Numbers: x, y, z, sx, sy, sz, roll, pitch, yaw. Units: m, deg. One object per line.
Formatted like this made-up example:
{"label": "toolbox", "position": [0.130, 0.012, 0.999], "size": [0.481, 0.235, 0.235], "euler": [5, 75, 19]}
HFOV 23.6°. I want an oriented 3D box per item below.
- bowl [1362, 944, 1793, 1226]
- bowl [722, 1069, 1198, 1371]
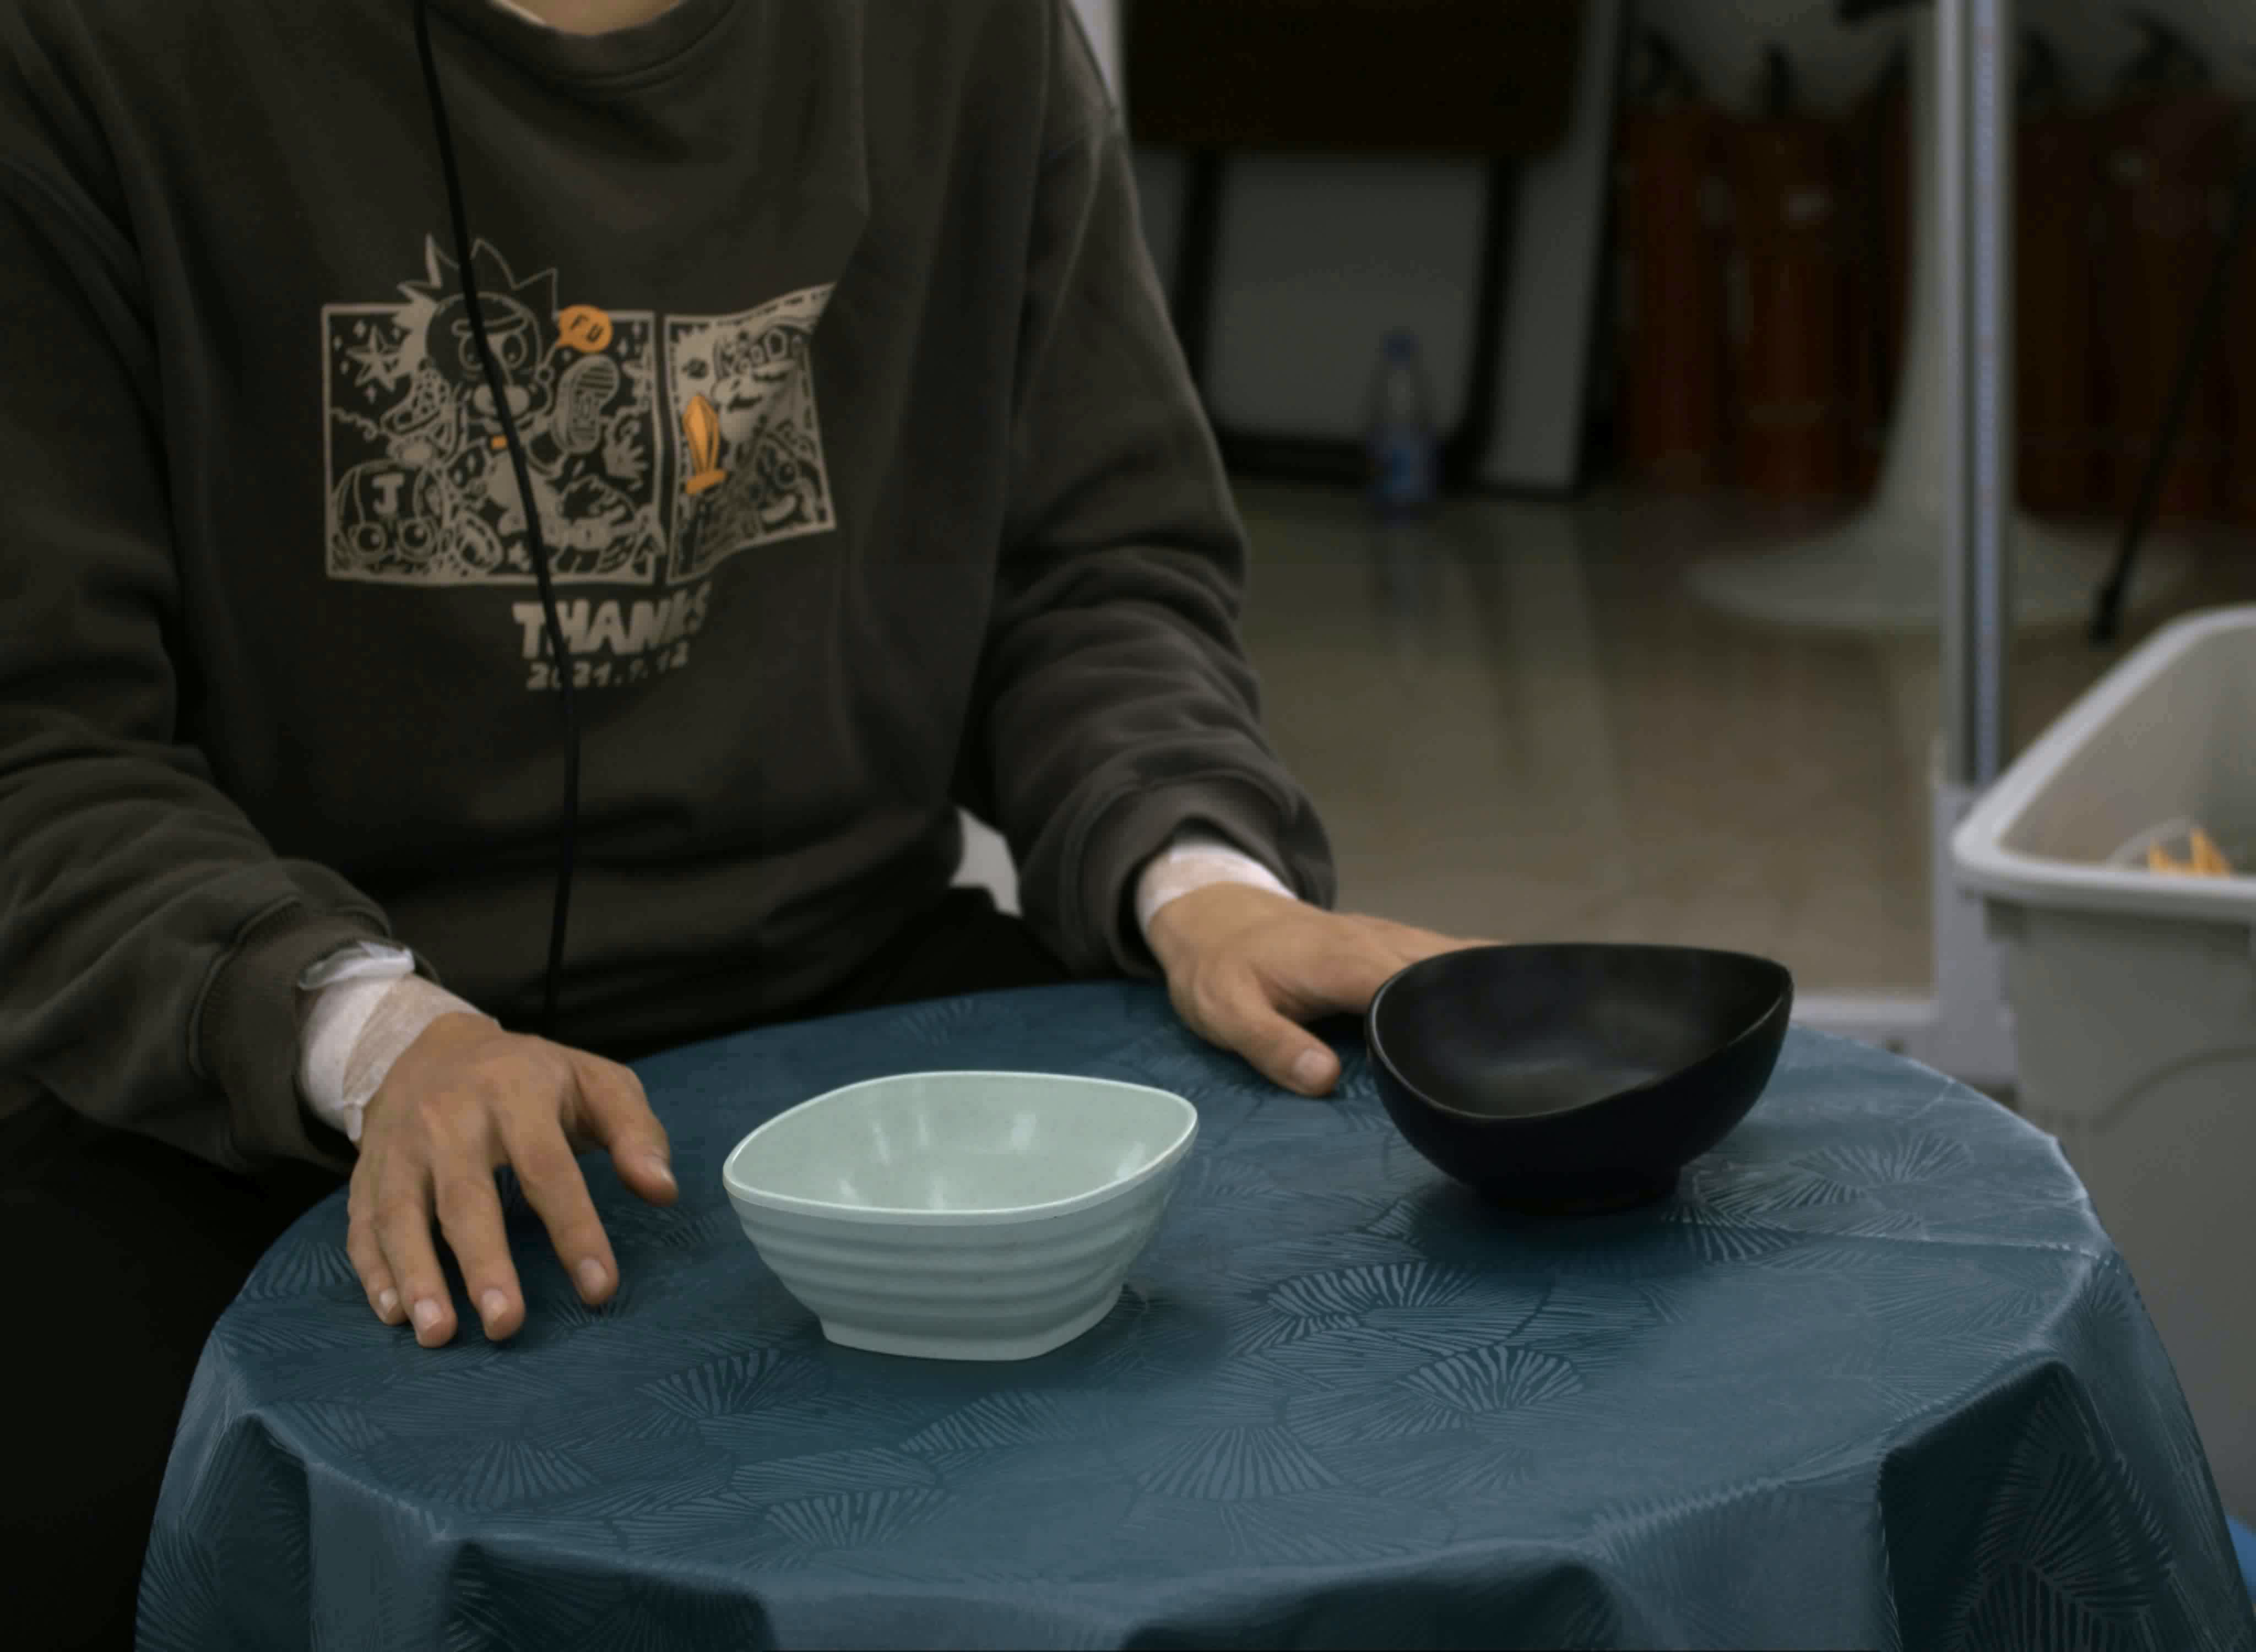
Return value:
{"label": "bowl", "position": [0.146, 0.088, 1.739], "size": [0.137, 0.067, 0.168], "euler": [1, 16, 22]}
{"label": "bowl", "position": [-0.050, 0.124, 1.658], "size": [0.149, 0.059, 0.152], "euler": [-2, 15, 0]}
